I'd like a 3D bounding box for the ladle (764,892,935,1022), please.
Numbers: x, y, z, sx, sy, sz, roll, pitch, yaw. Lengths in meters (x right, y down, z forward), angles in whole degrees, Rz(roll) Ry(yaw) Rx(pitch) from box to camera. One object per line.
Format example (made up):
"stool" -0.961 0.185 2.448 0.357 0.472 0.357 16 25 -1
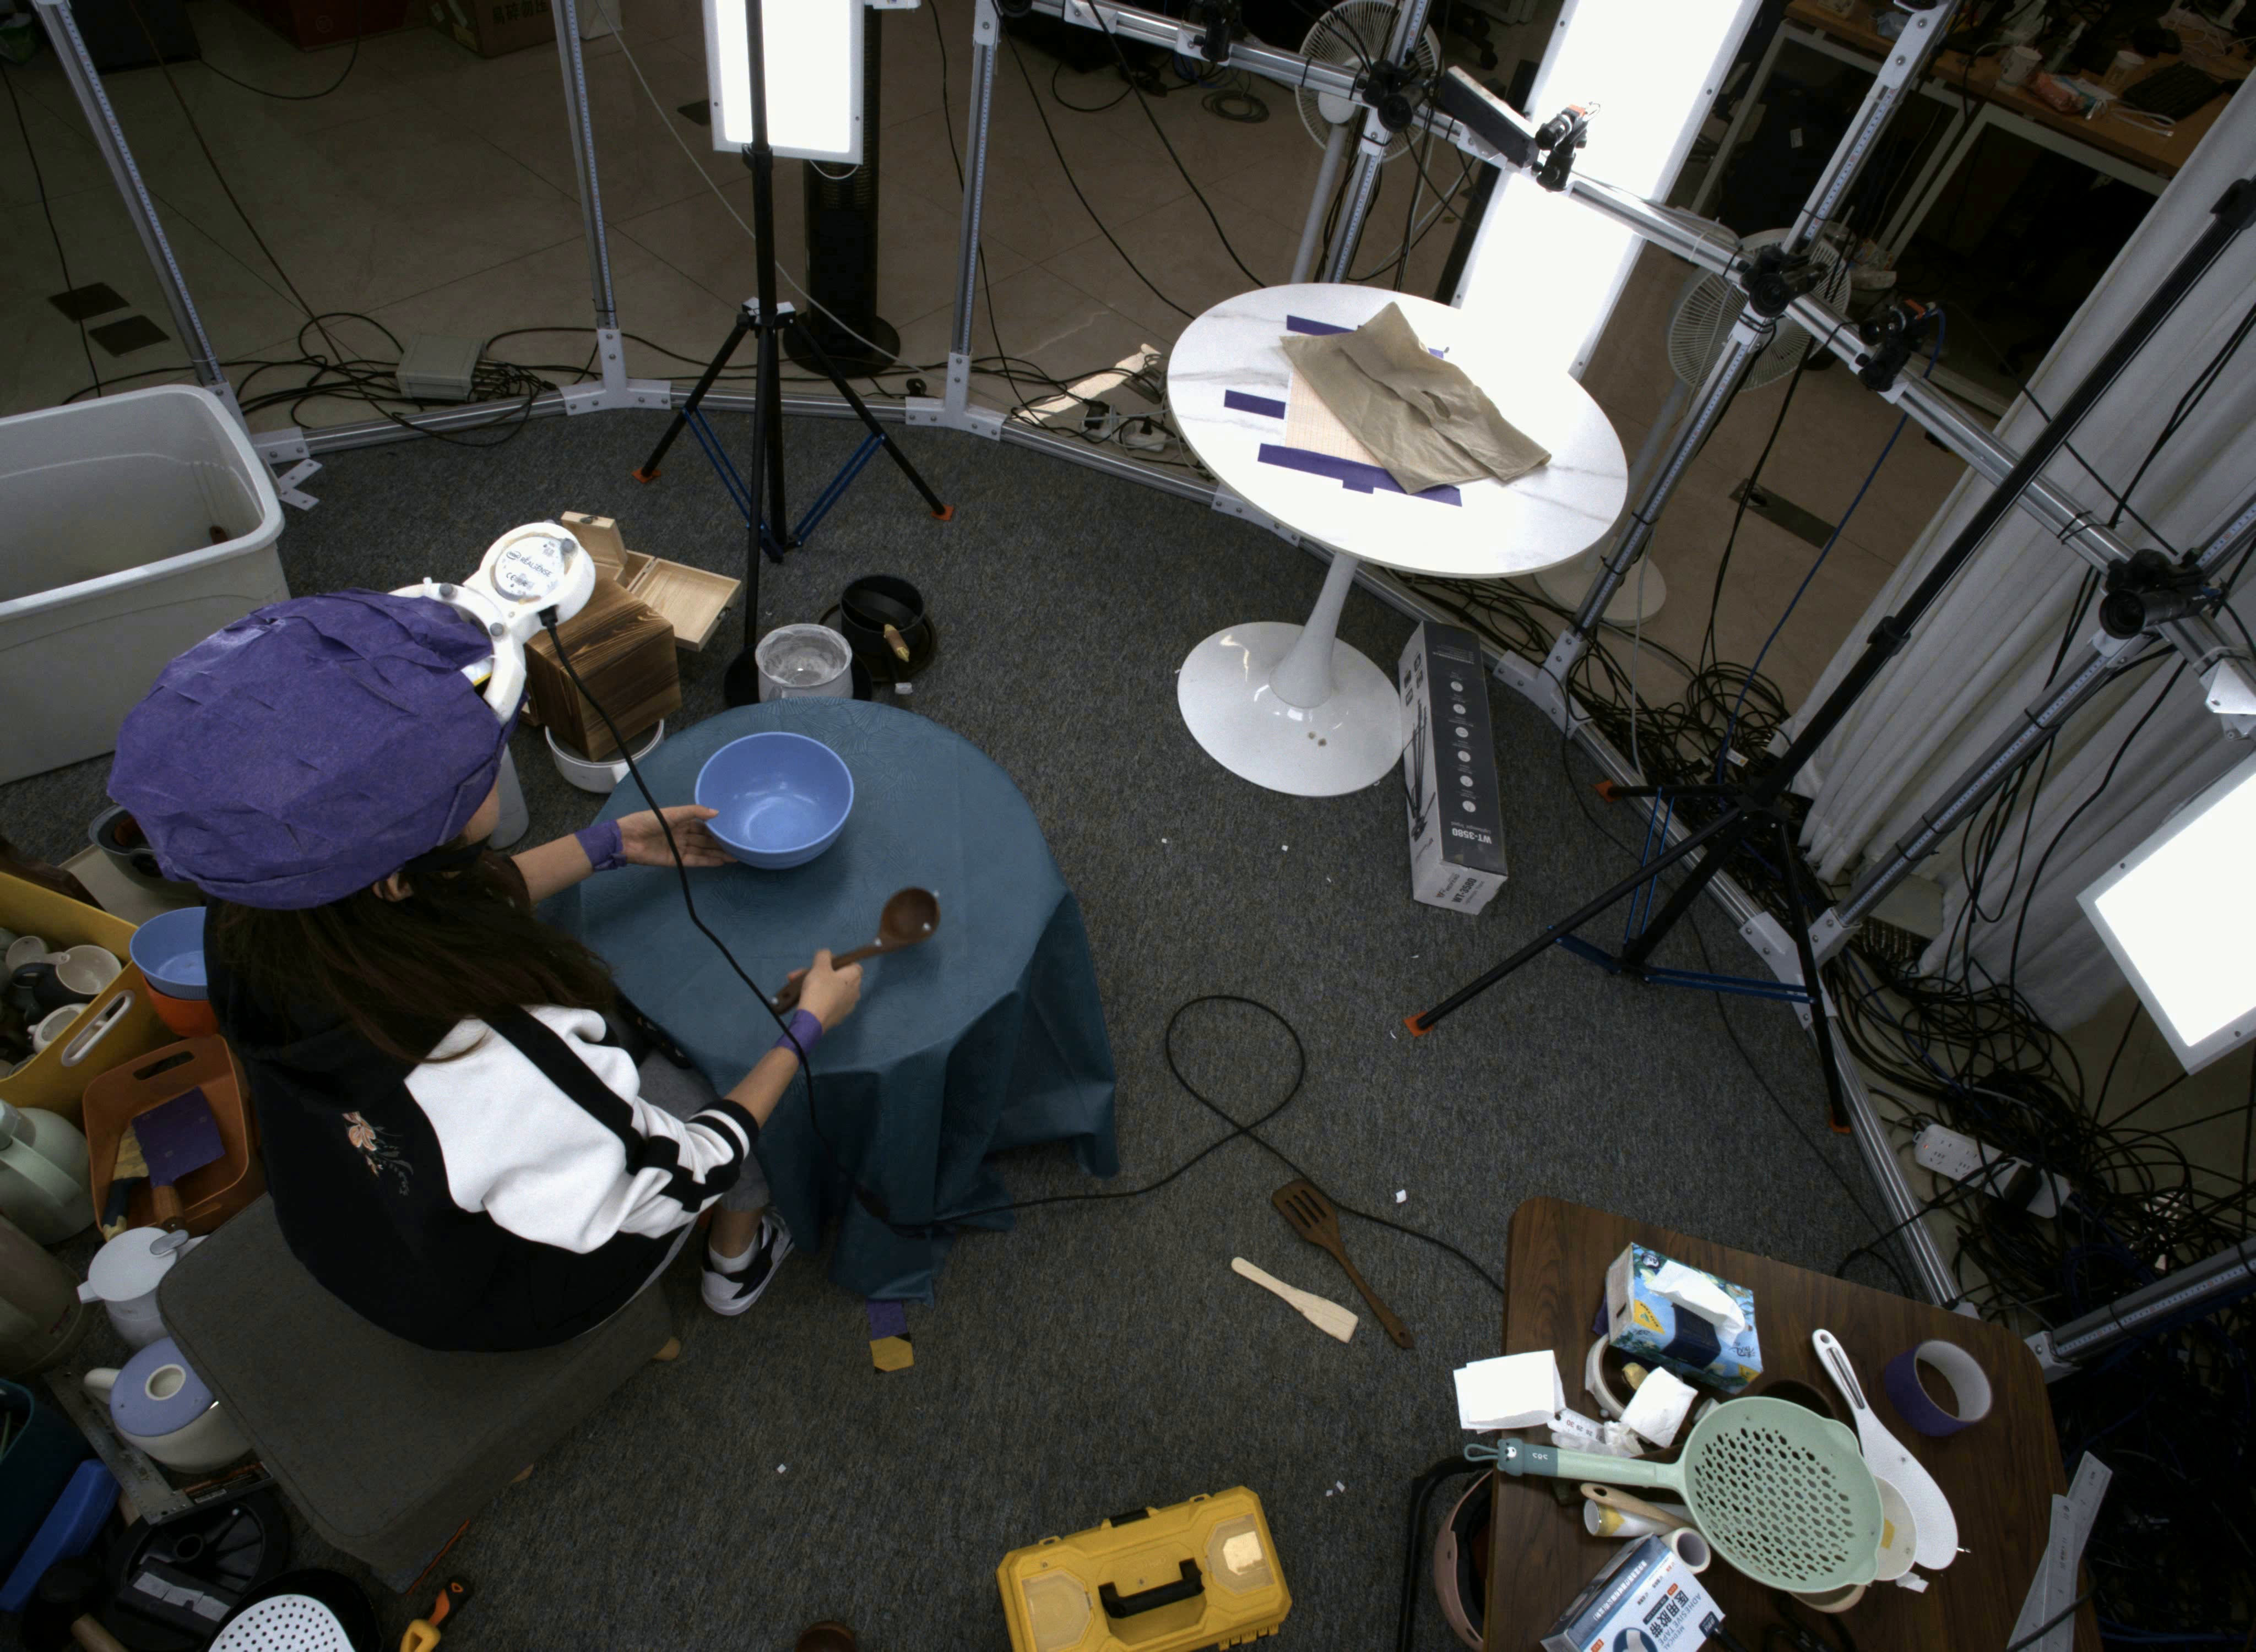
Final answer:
"ladle" -0.328 0.148 1.530 0.074 0.067 0.262 23 30 27

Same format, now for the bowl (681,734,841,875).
"bowl" -0.471 -0.013 1.656 0.197 0.097 0.193 12 51 -13
